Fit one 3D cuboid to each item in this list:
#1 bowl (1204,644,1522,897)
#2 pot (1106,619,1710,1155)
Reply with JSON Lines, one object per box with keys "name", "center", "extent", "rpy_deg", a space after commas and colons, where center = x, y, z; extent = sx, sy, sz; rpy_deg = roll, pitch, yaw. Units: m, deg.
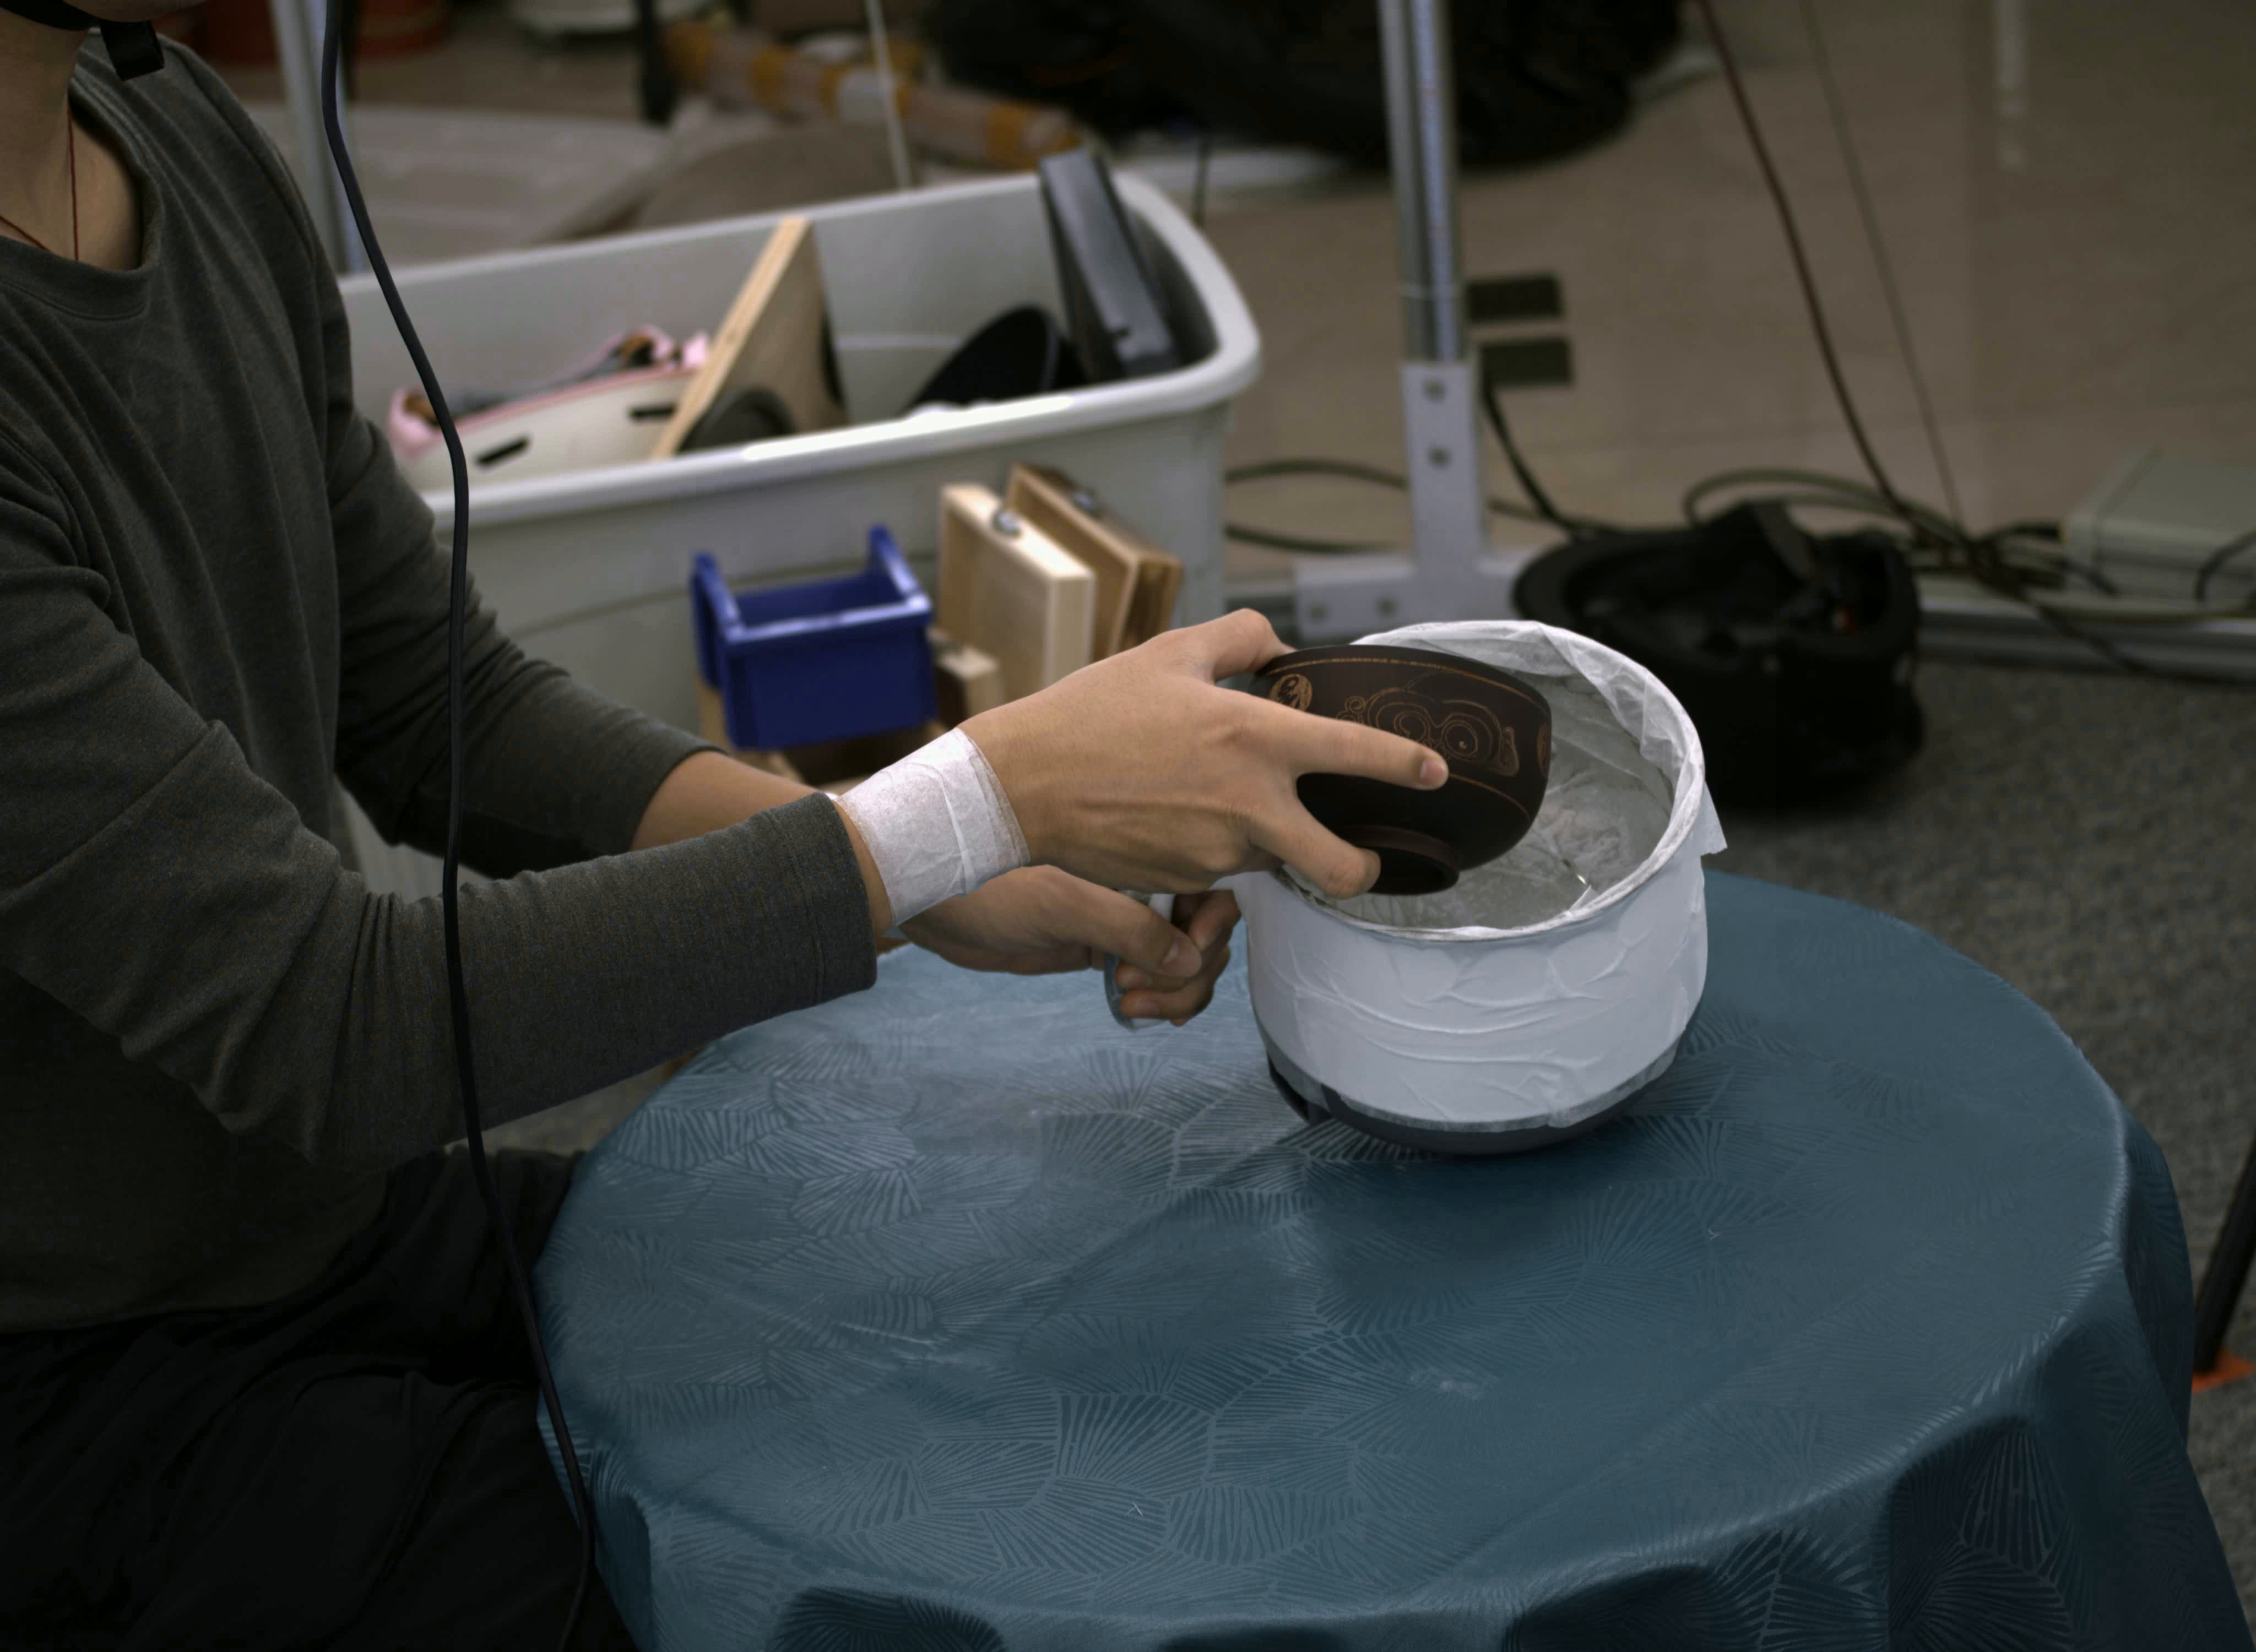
{"name": "bowl", "center": [0.087, -0.015, 2.087], "extent": [0.118, 0.119, 0.069], "rpy_deg": [-1, 71, 0]}
{"name": "pot", "center": [0.105, 0.029, 2.160], "extent": [0.233, 0.139, 0.175], "rpy_deg": [-4, 44, 4]}
